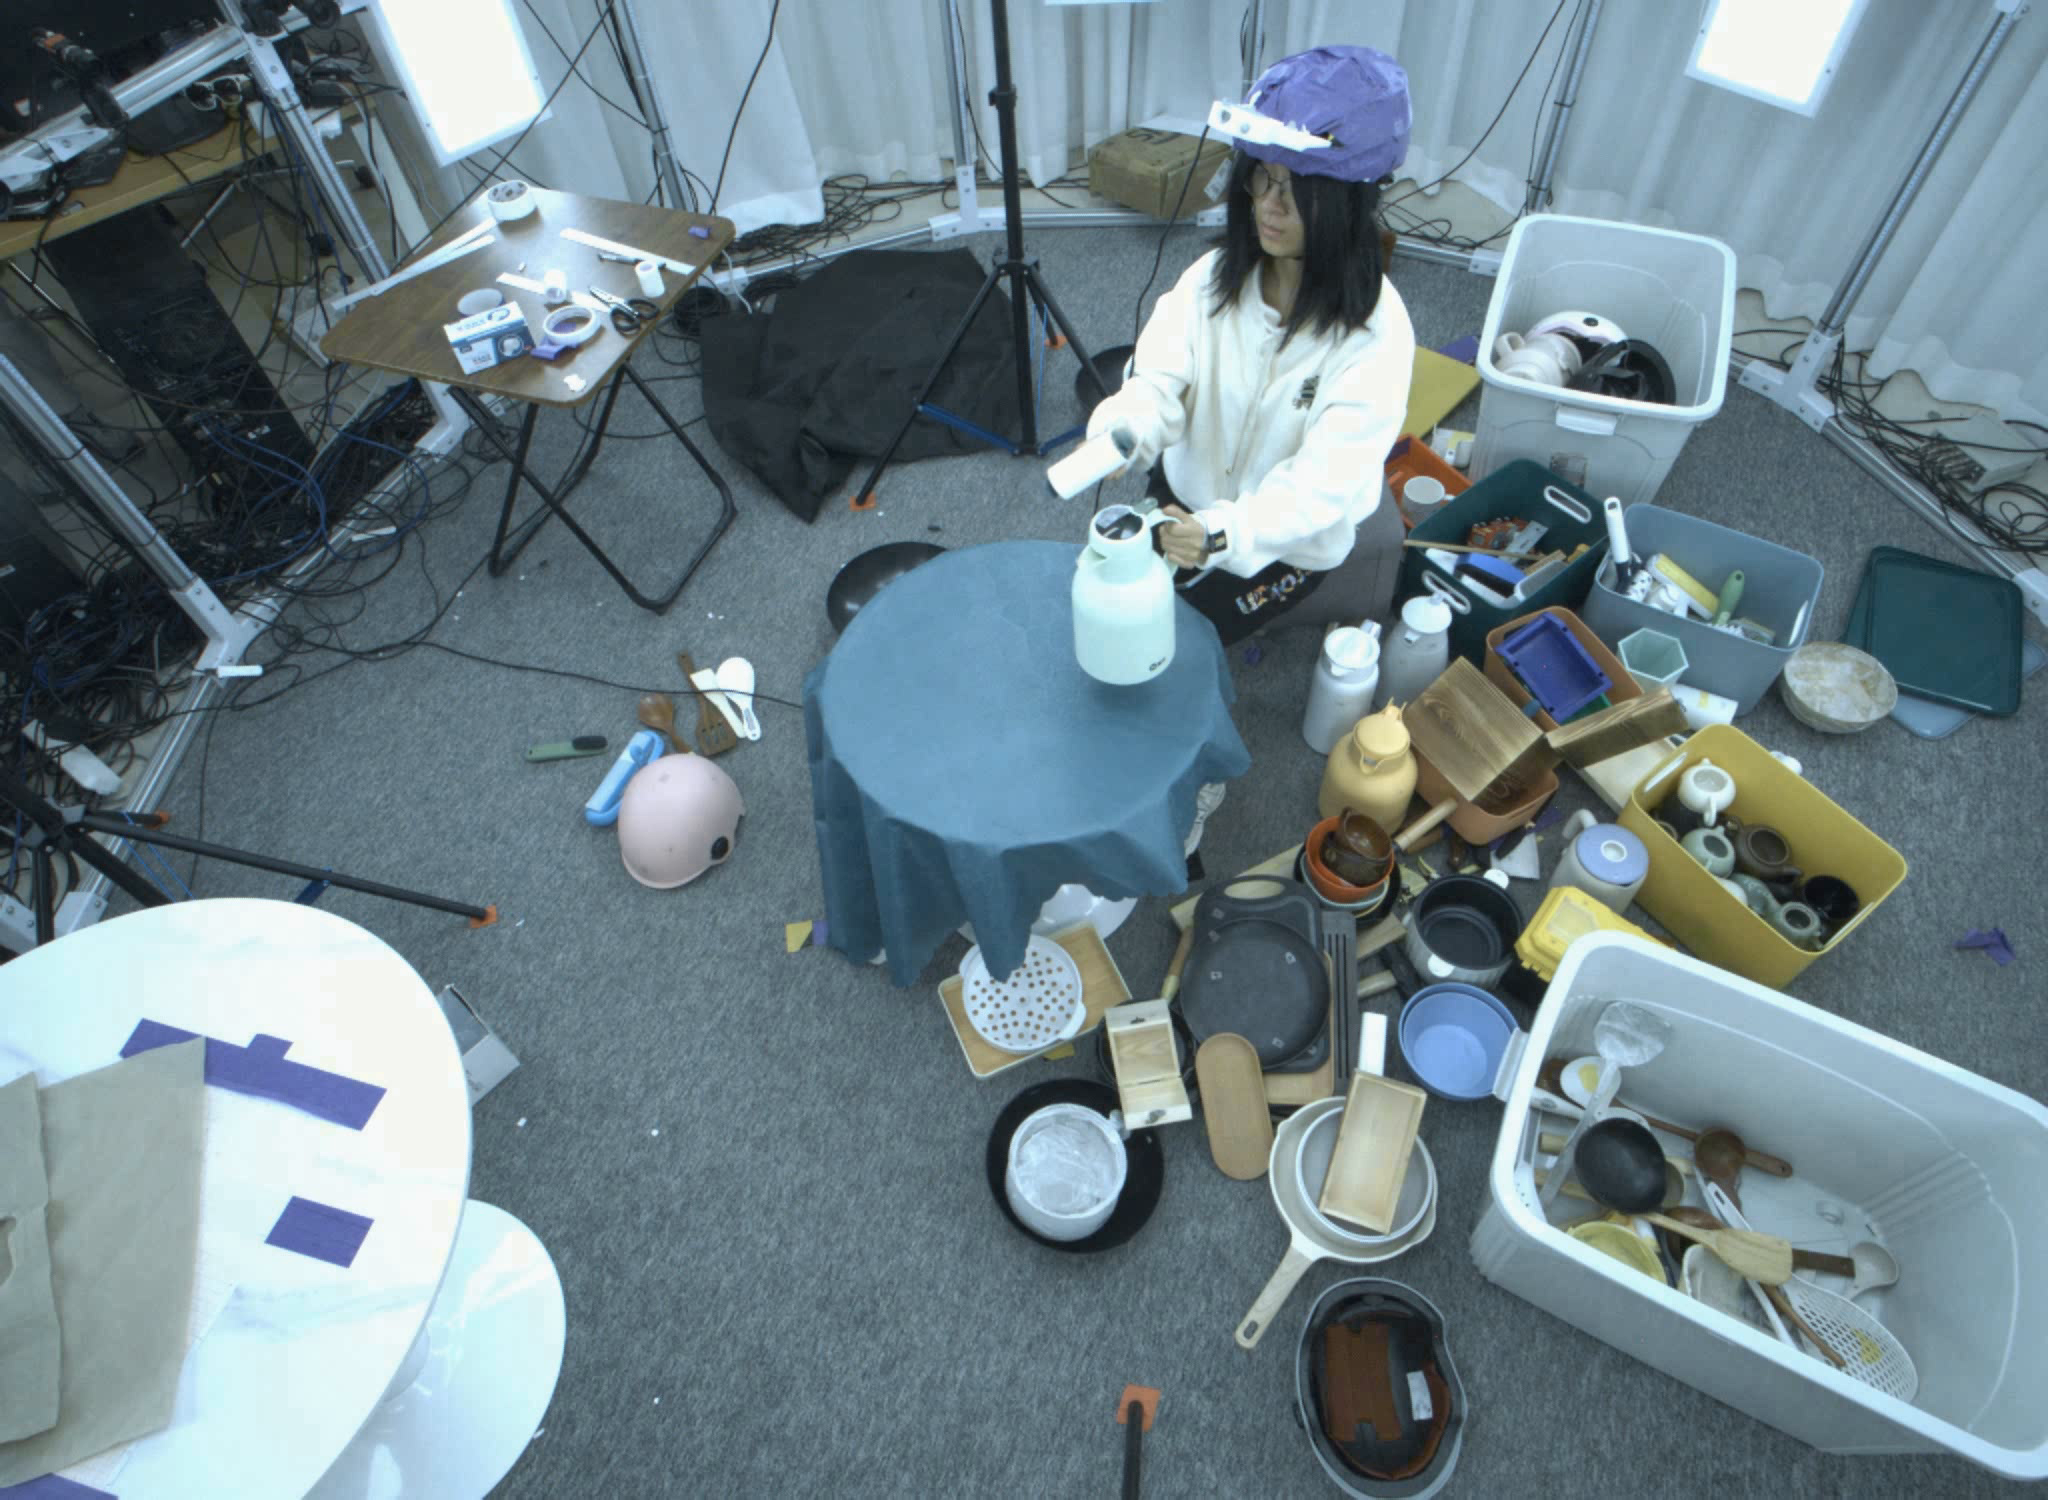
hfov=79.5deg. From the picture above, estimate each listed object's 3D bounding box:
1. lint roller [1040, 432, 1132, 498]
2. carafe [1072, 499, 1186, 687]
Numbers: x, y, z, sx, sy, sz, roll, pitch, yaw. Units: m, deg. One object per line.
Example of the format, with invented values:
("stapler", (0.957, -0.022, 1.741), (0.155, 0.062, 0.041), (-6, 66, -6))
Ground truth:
("lint roller", (0.097, -0.401, 1.658), (0.133, 0.049, 0.180), (-27, 15, 25))
("carafe", (0.147, -0.224, 1.699), (0.188, 0.260, 0.141), (-36, 56, -23))
